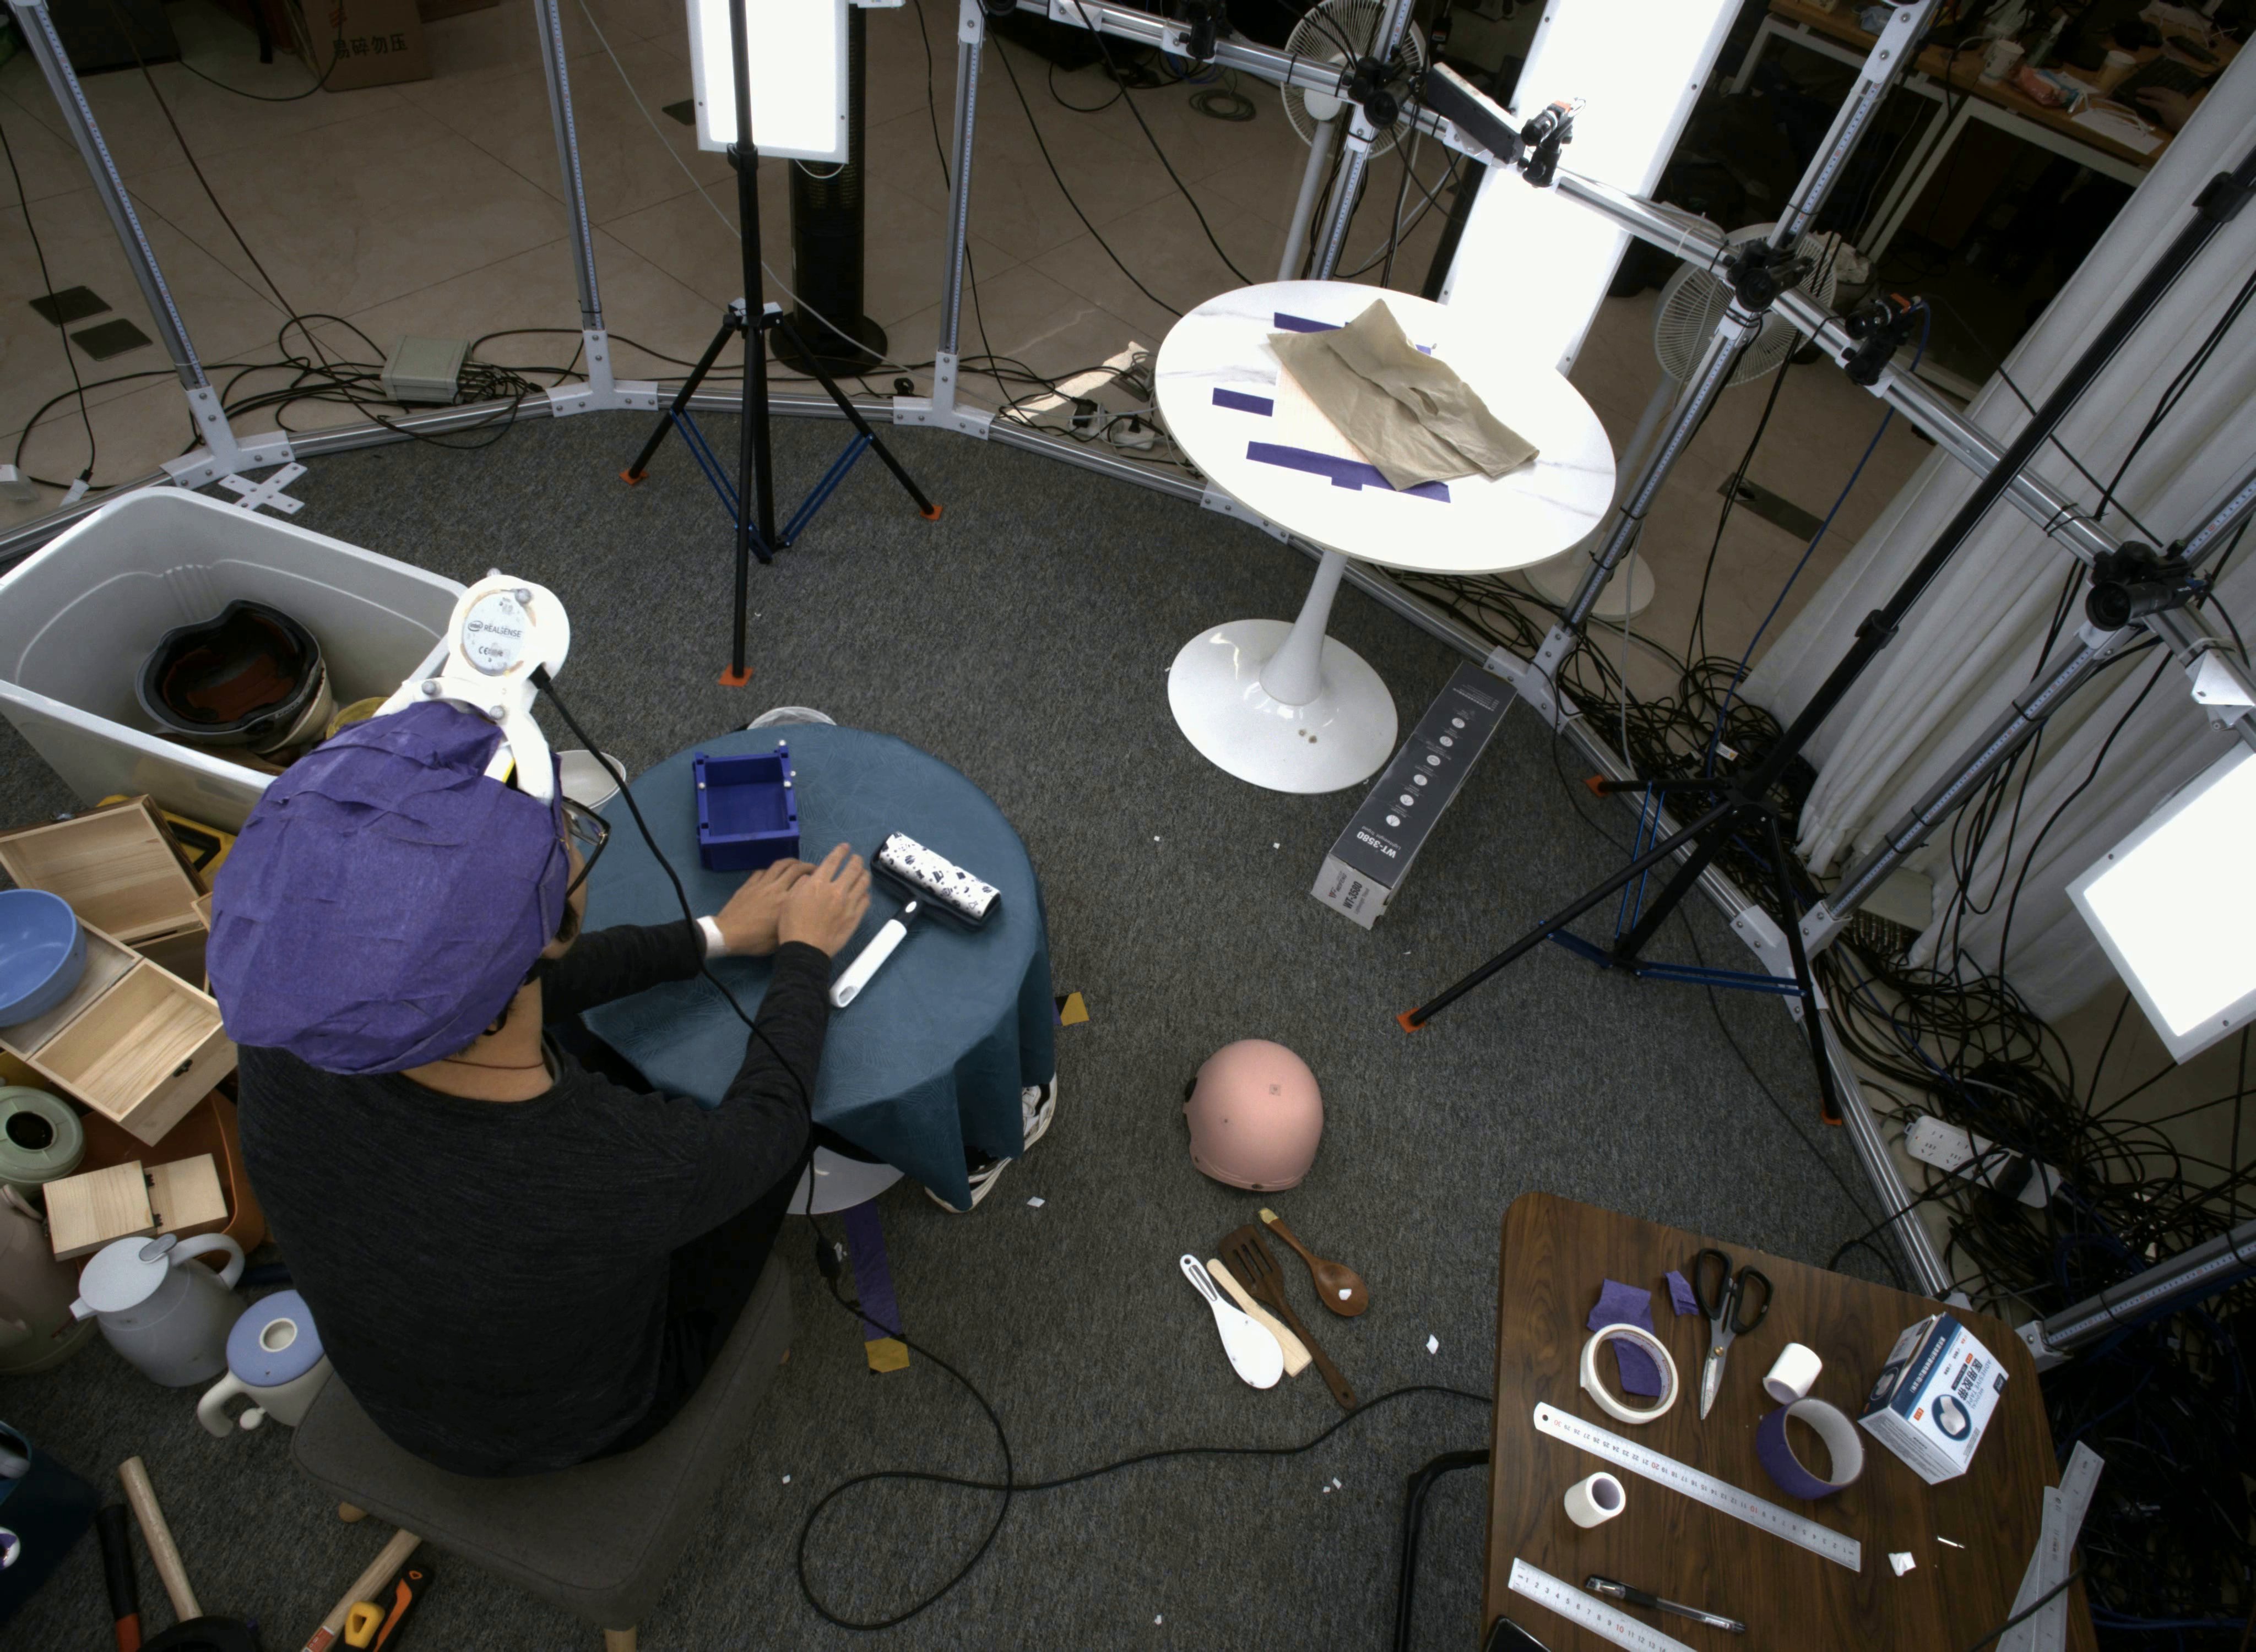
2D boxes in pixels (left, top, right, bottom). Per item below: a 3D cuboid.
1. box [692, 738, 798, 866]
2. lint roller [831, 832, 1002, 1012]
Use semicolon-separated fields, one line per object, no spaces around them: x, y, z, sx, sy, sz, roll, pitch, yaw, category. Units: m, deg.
-0.499;-0.039;1.675;0.125;0.083;0.175;-5;58;-17;box
-0.291;0.130;1.629;0.174;0.051;0.246;30;53;7;lint roller
